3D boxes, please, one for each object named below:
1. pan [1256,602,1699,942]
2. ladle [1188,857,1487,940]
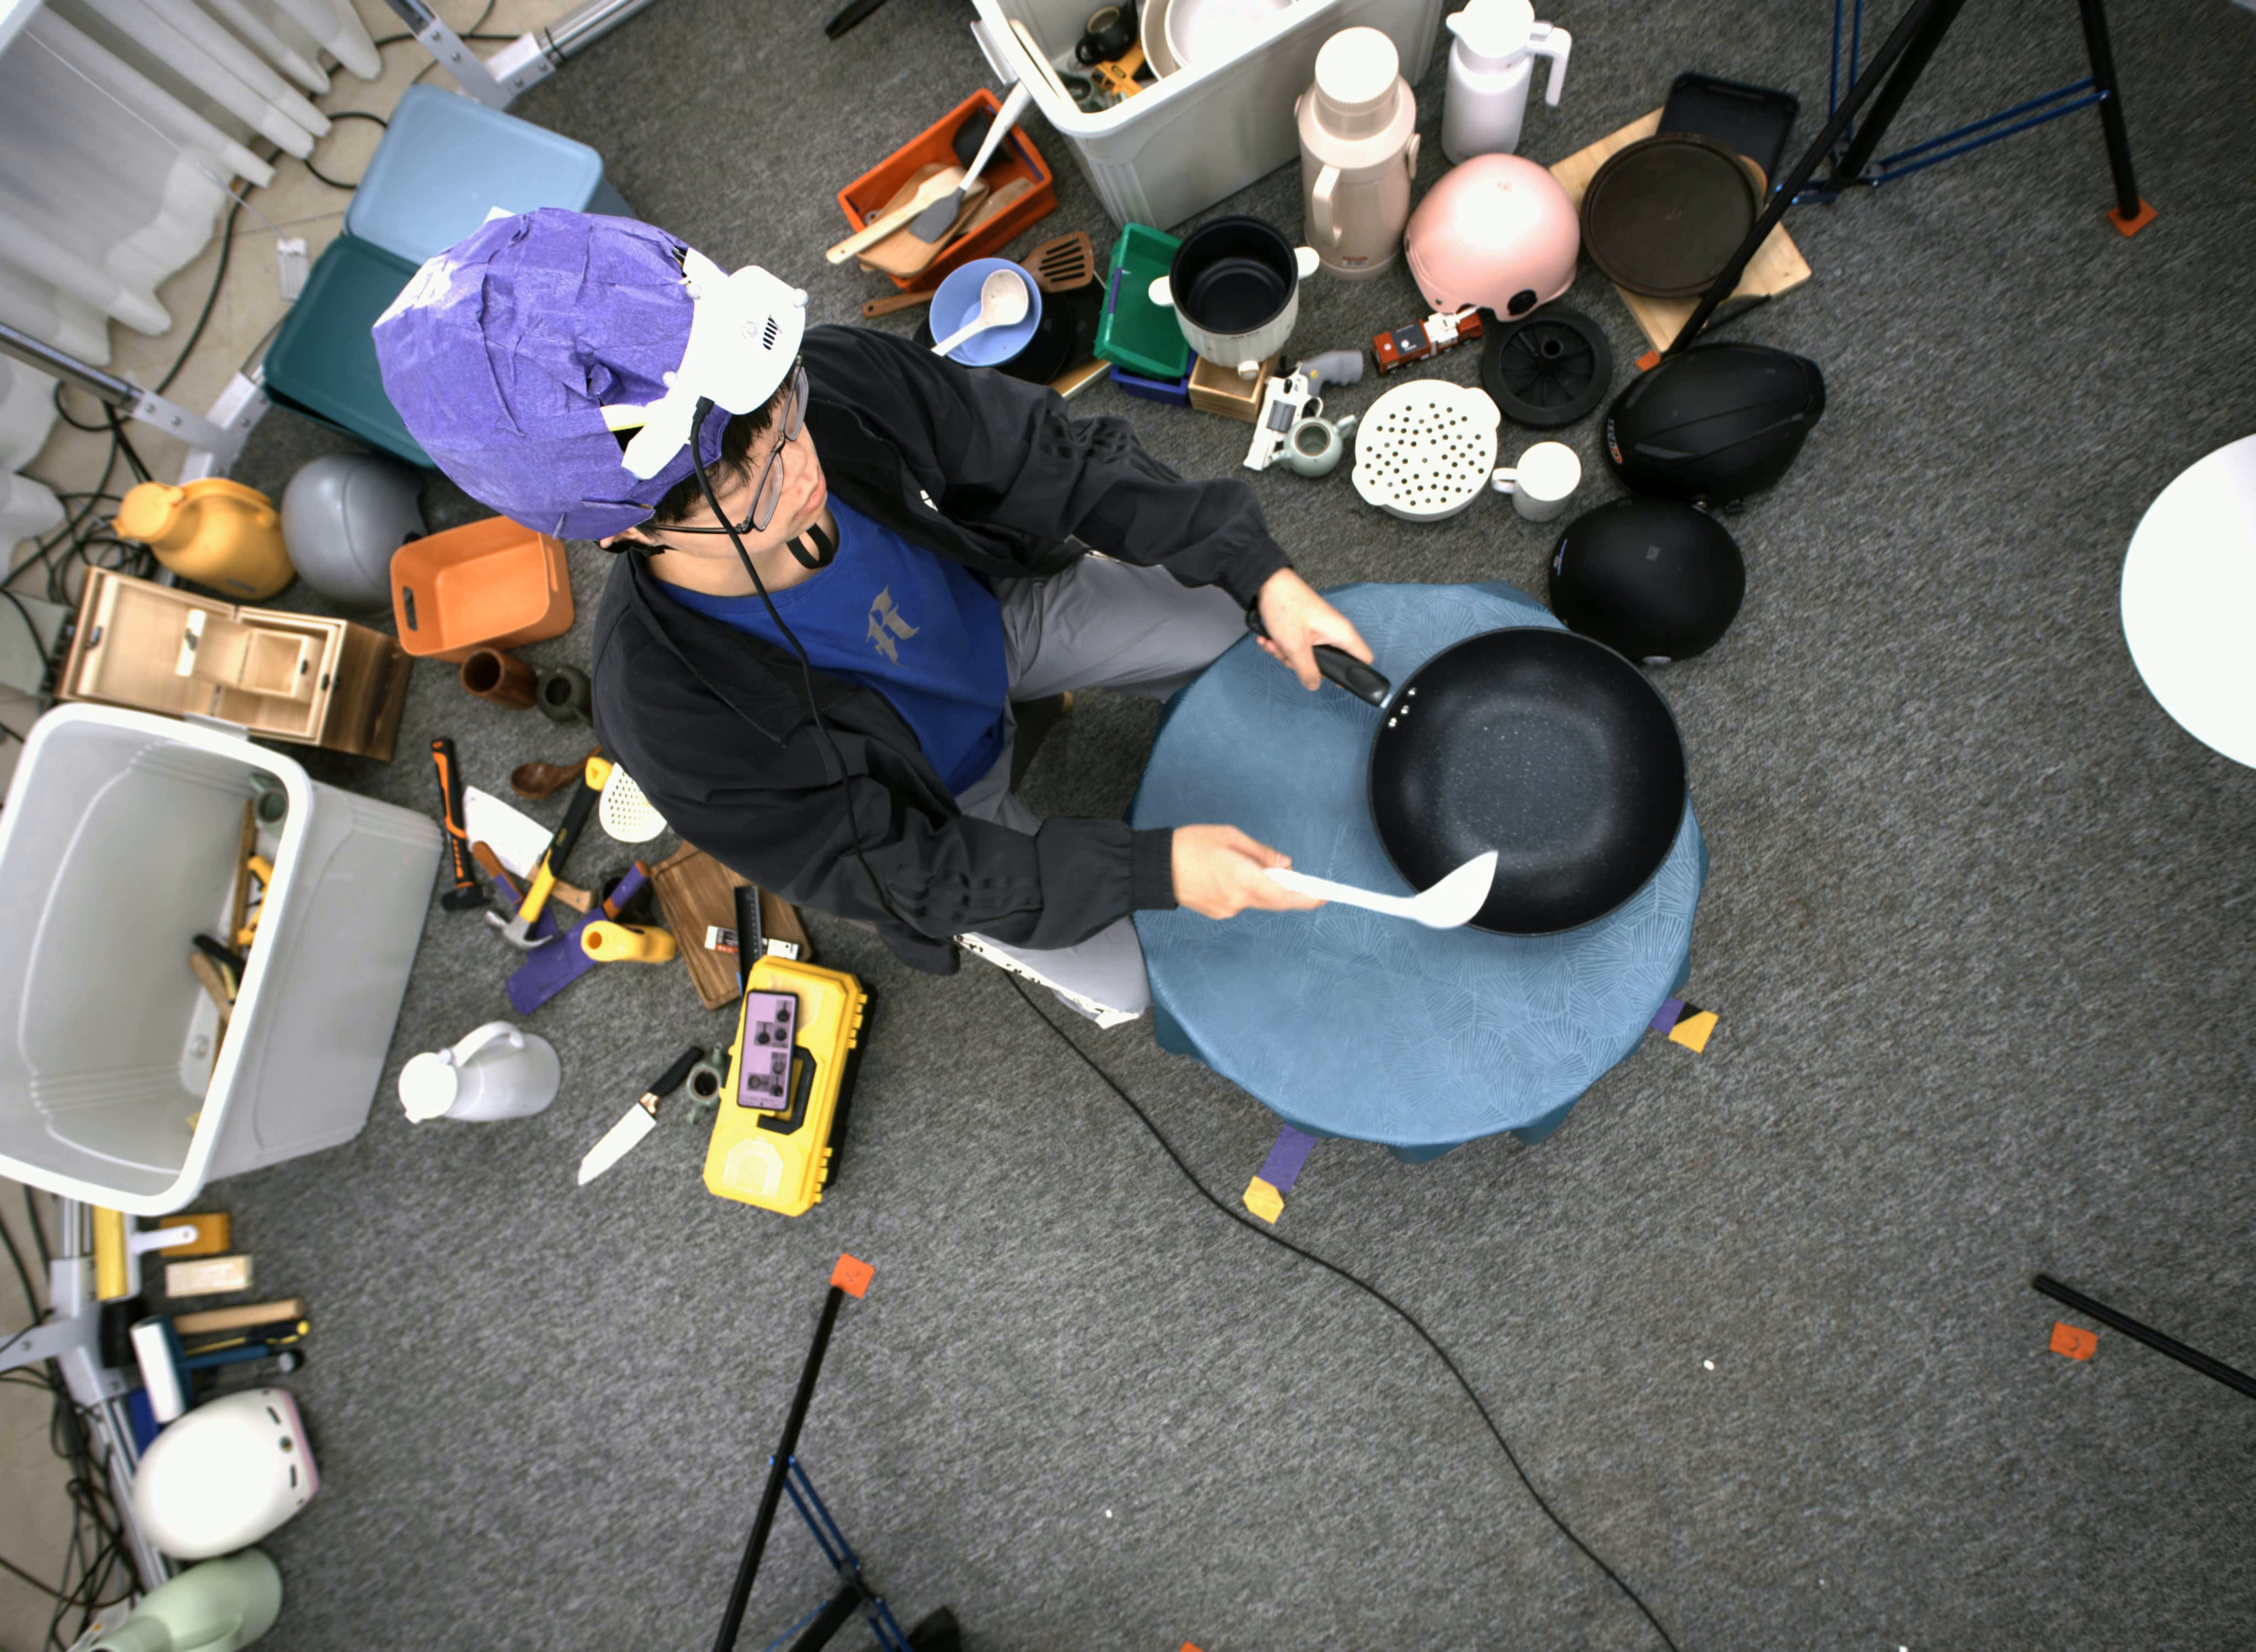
[{"bbox_3d":[0.338,-0.087,1.392,0.476,0.111,0.312,33,97,8],"label":"pan"},{"bbox_3d":[0.186,0.051,1.274,0.294,0.088,0.071,10,126,31],"label":"ladle"}]
